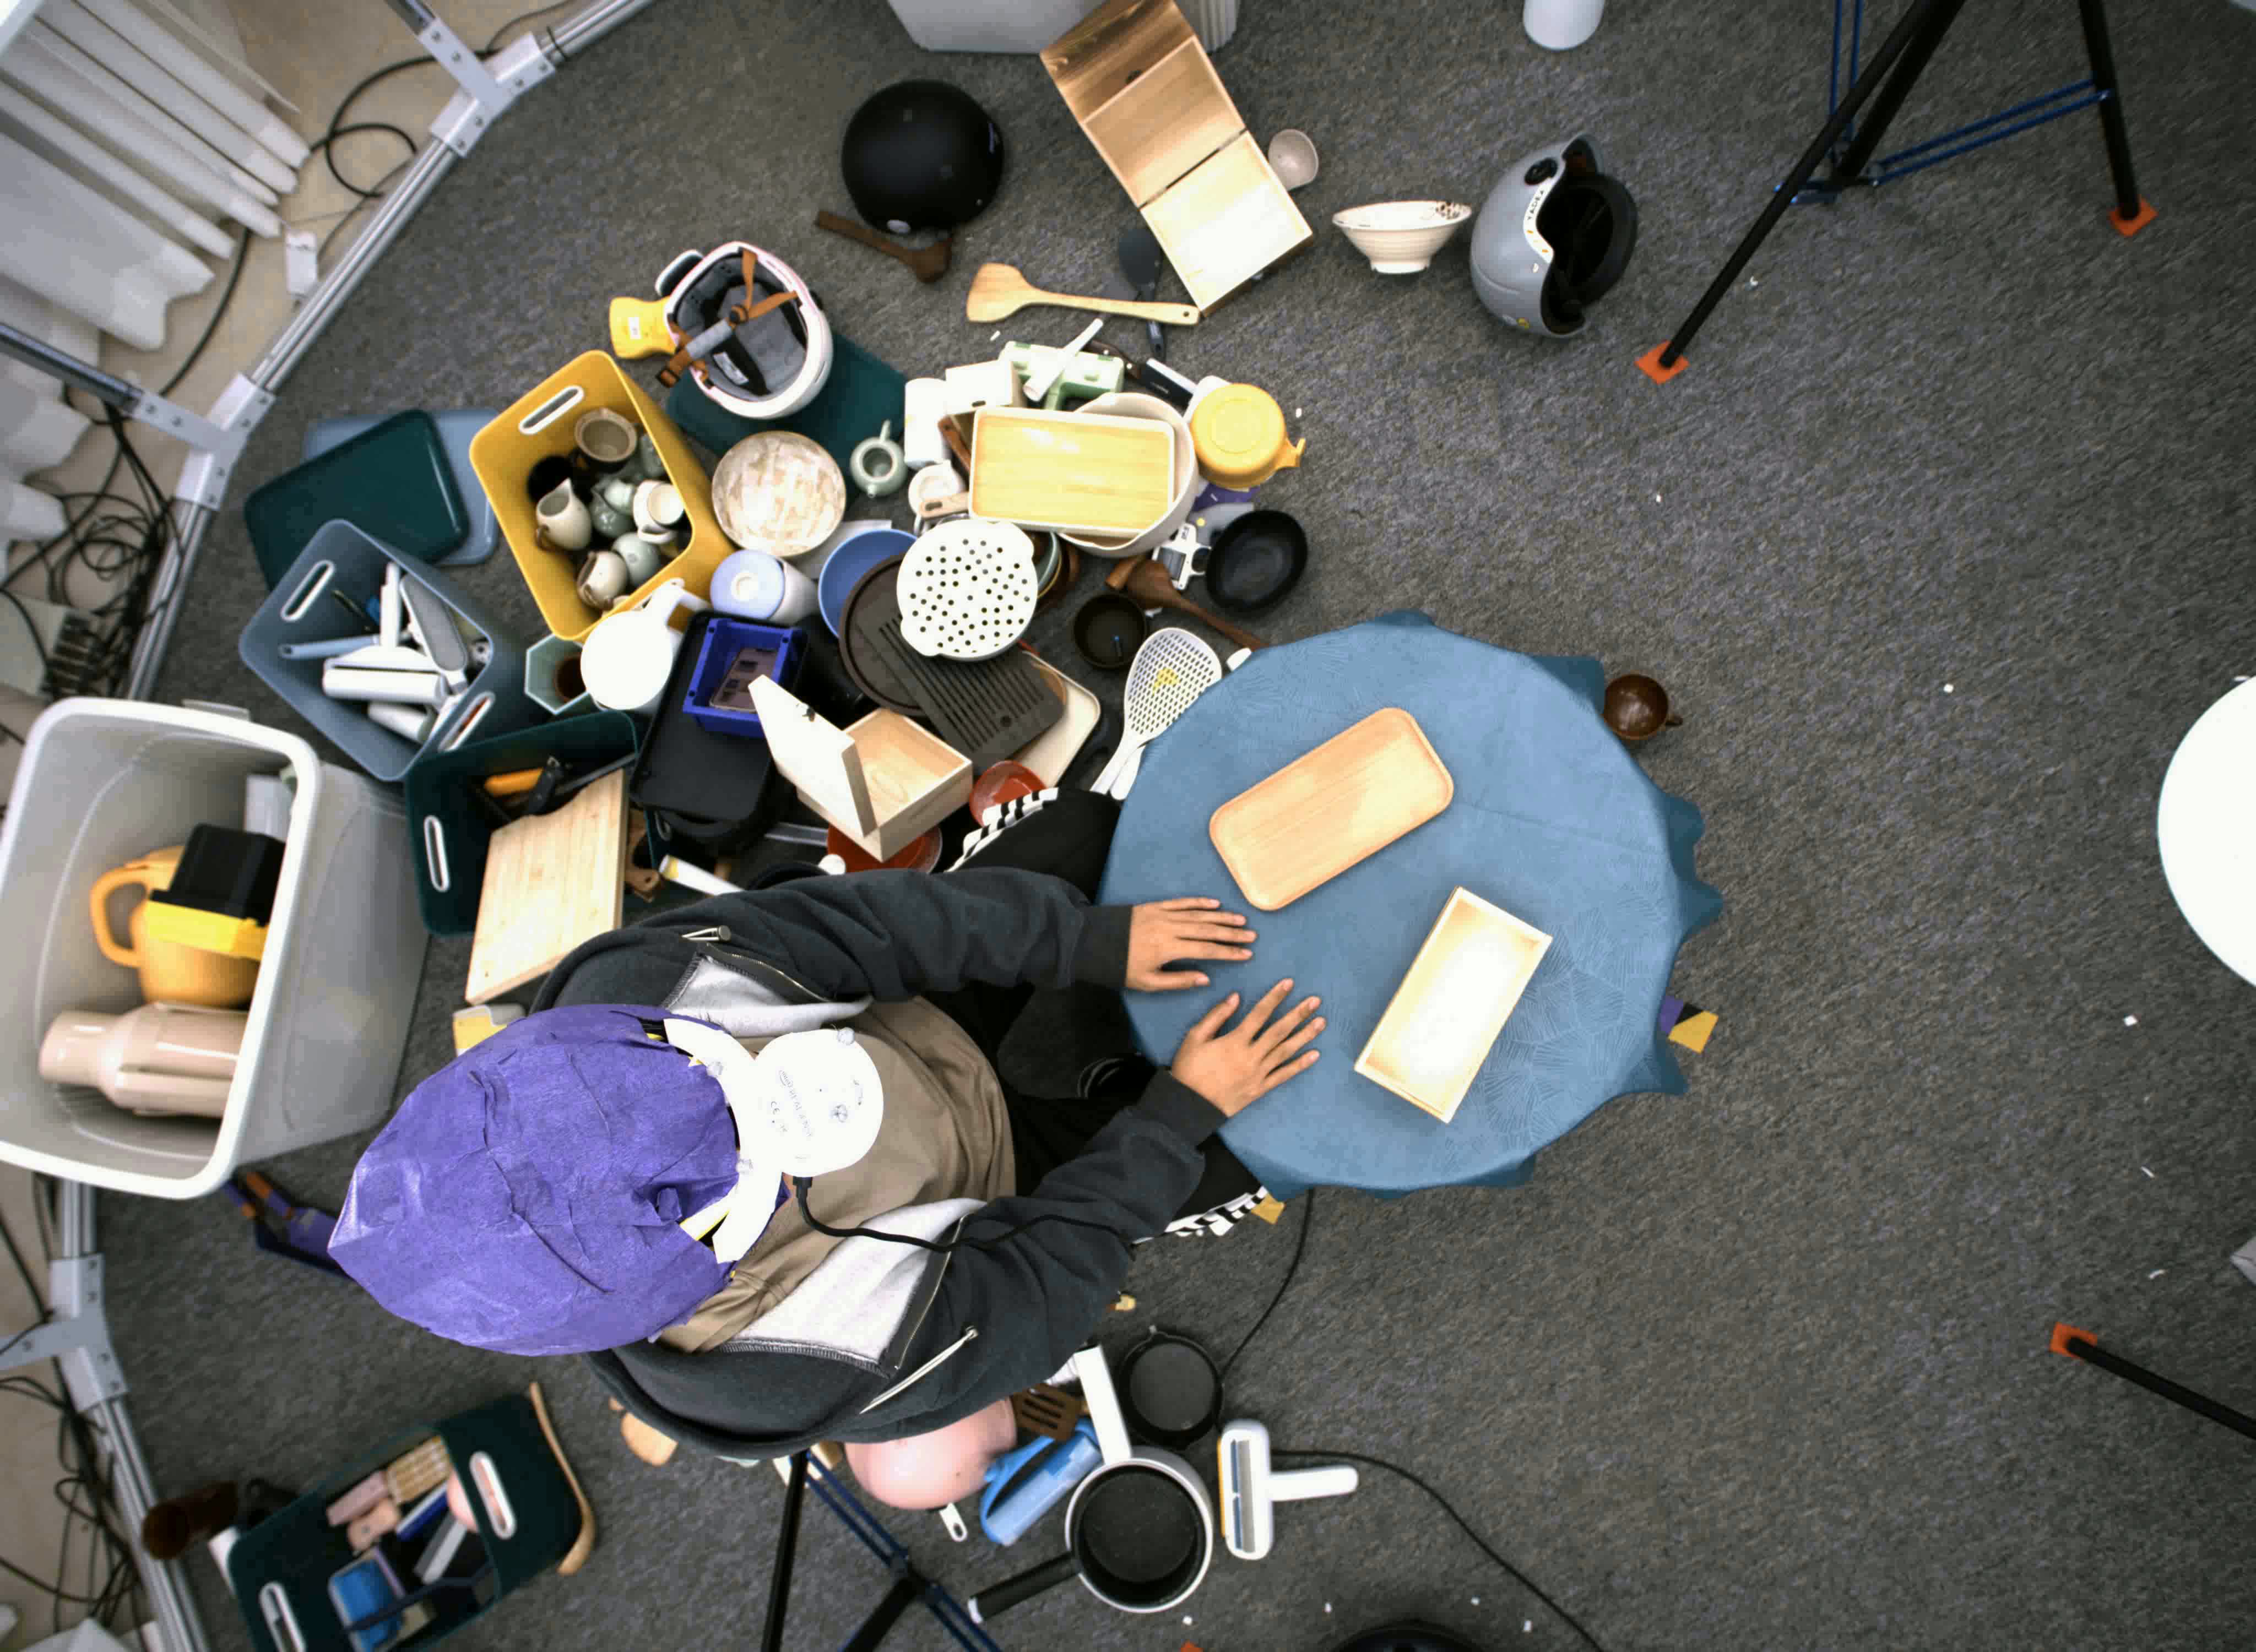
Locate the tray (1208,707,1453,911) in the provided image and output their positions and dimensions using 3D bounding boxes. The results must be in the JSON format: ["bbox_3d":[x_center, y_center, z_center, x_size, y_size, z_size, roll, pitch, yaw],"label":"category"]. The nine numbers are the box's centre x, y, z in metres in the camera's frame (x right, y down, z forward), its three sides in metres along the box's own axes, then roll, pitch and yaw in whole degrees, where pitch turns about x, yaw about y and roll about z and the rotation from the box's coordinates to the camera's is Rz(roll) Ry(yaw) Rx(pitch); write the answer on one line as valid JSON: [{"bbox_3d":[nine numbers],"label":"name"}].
[{"bbox_3d":[0.214,-0.018,1.466,0.252,0.023,0.129,-31,79,8],"label":"tray"}]

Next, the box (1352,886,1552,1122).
[{"bbox_3d":[0.327,0.178,1.403,0.107,0.080,0.212,30,92,11],"label":"box"}]
